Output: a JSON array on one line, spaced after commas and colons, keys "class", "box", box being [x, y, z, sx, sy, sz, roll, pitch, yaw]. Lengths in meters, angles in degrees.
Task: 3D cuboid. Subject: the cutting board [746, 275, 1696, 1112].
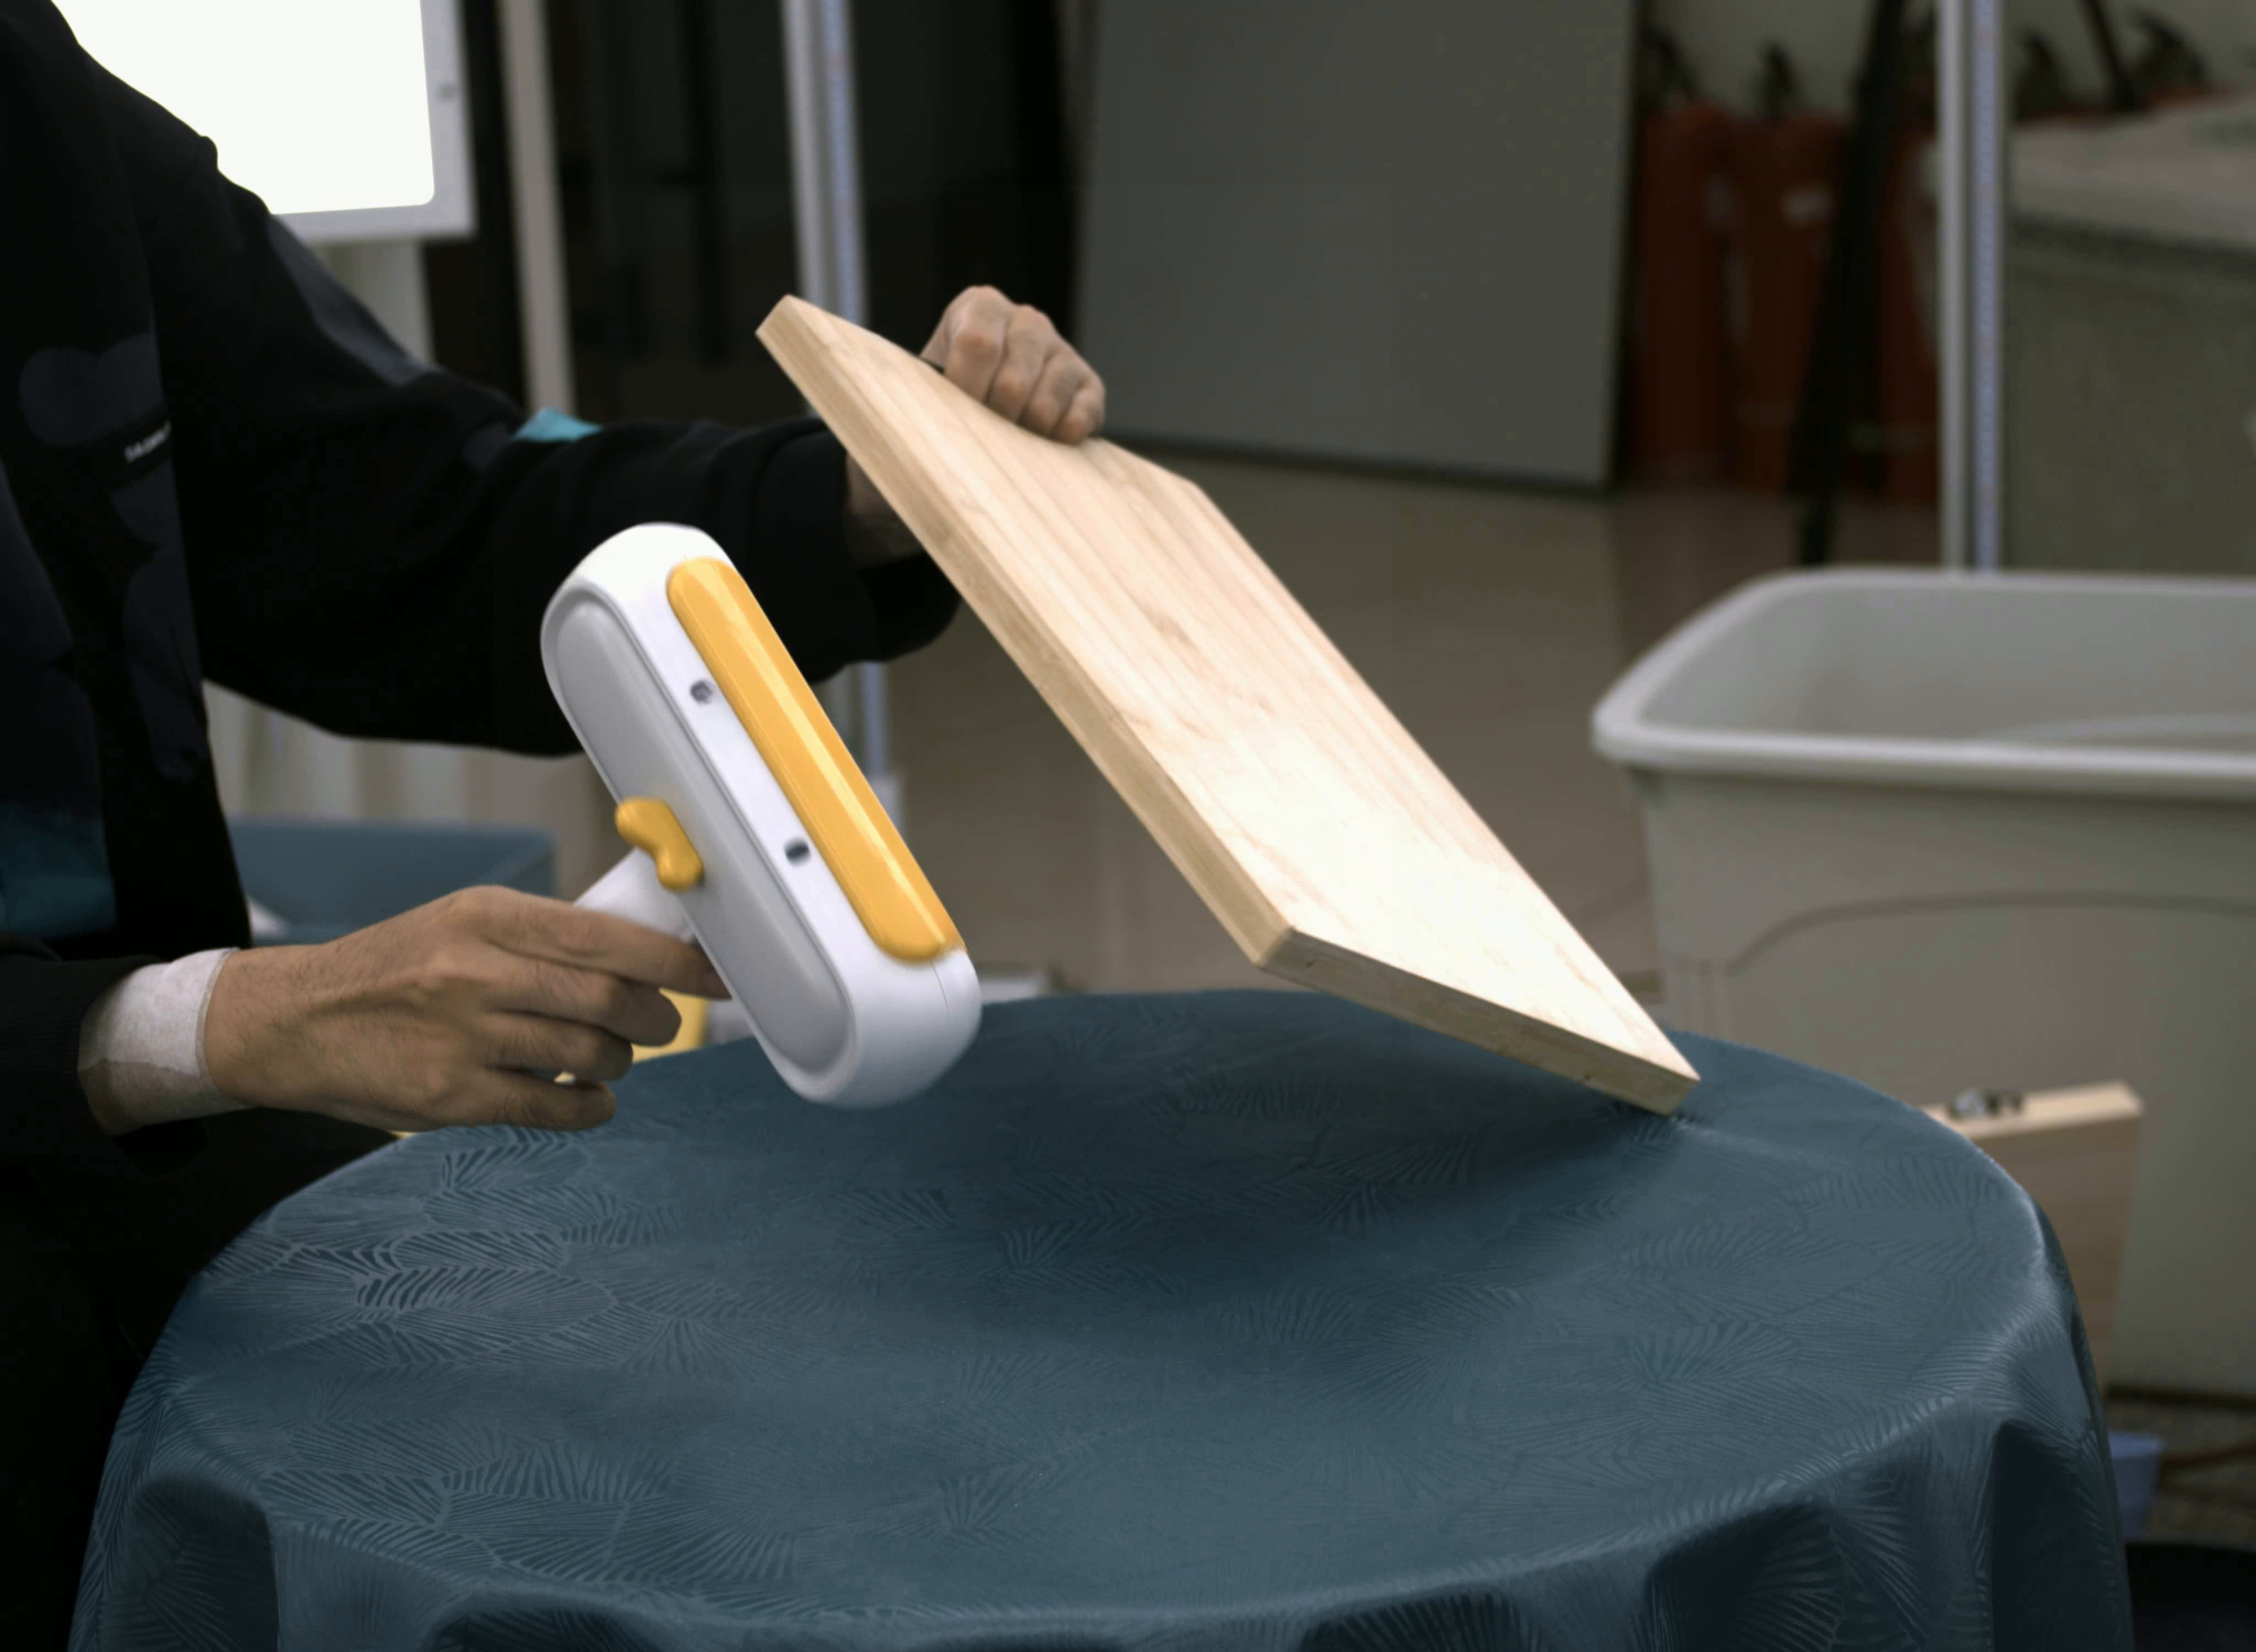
[{"class": "cutting board", "box": [0.029, -0.045, 1.831, 0.246, 0.024, 0.353, 22, 23, -49]}]

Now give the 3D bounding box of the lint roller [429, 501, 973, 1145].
[{"class": "lint roller", "box": [-0.148, 0.027, 1.645, 0.073, 0.194, 0.194, -23, -20, -46]}]
